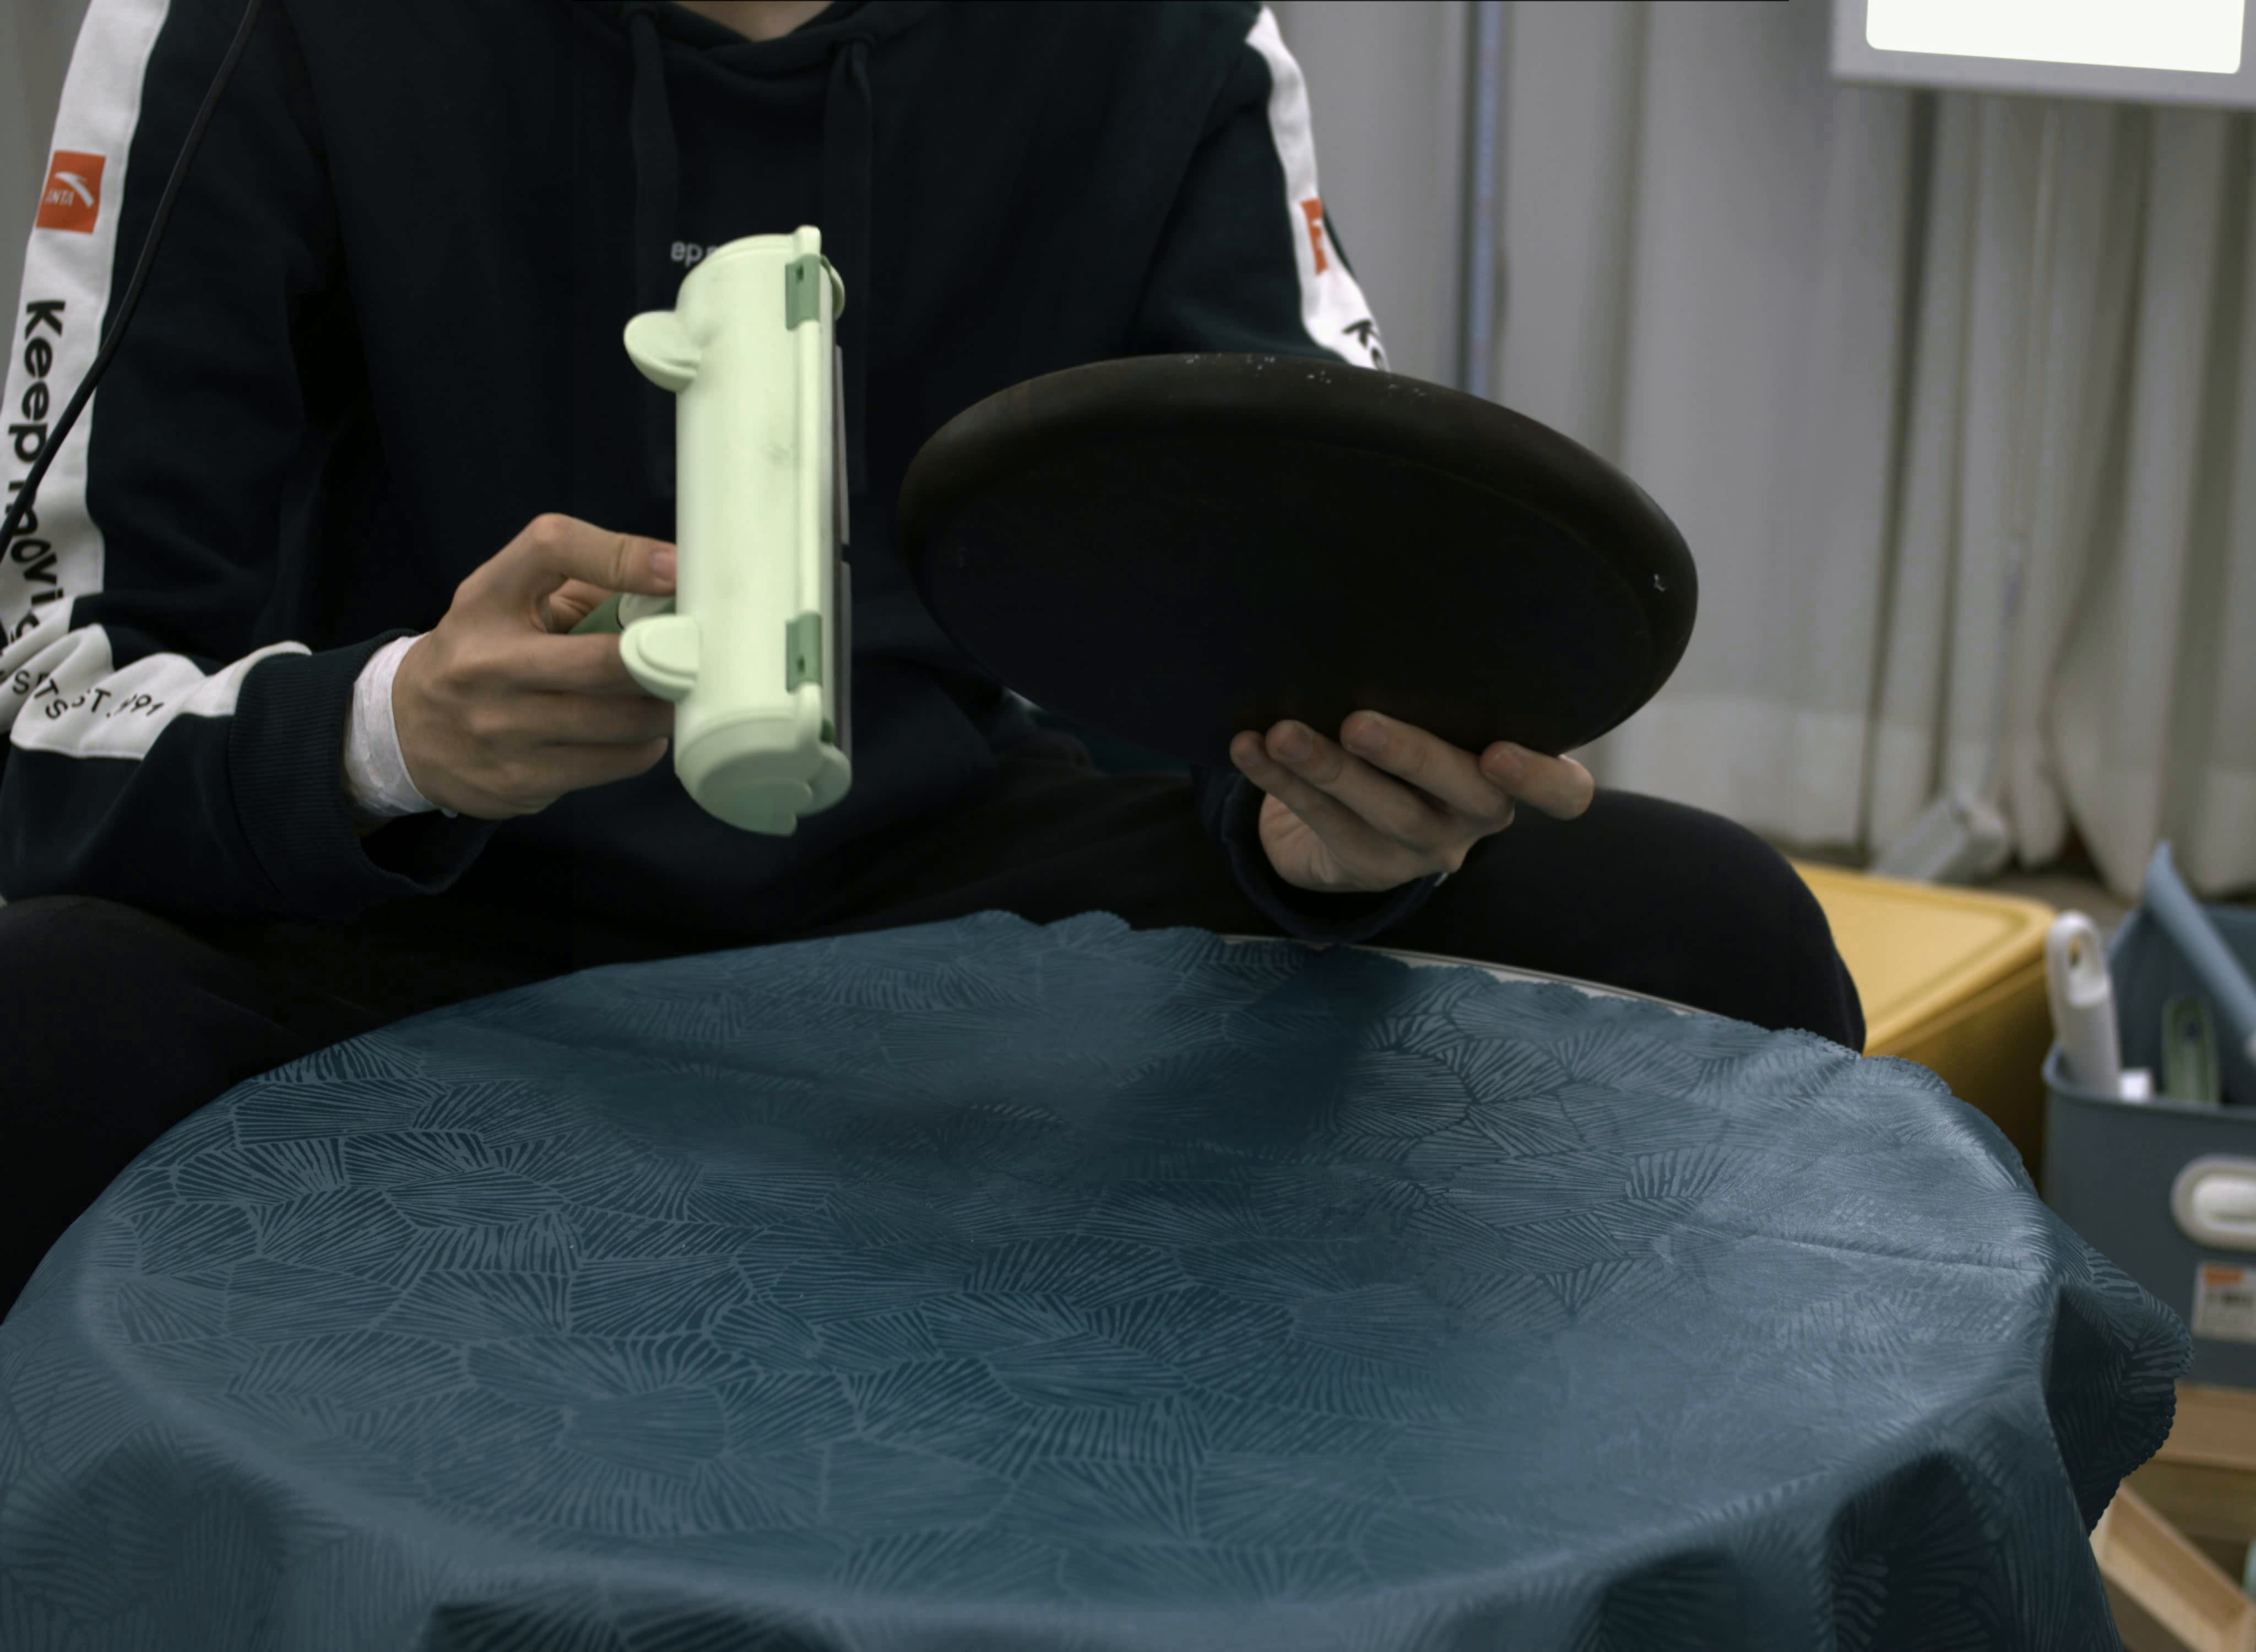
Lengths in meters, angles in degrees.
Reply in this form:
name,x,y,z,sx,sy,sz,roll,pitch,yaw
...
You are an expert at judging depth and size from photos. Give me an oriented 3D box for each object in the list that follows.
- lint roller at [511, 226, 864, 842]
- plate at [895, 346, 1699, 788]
name,x,y,z,sx,sy,sz,roll,pitch,yaw
lint roller,-0.156,-0.073,1.659,0.182,0.197,0.083,-28,-38,36
plate,0.051,-0.074,1.640,0.254,0.029,0.257,6,-25,3
